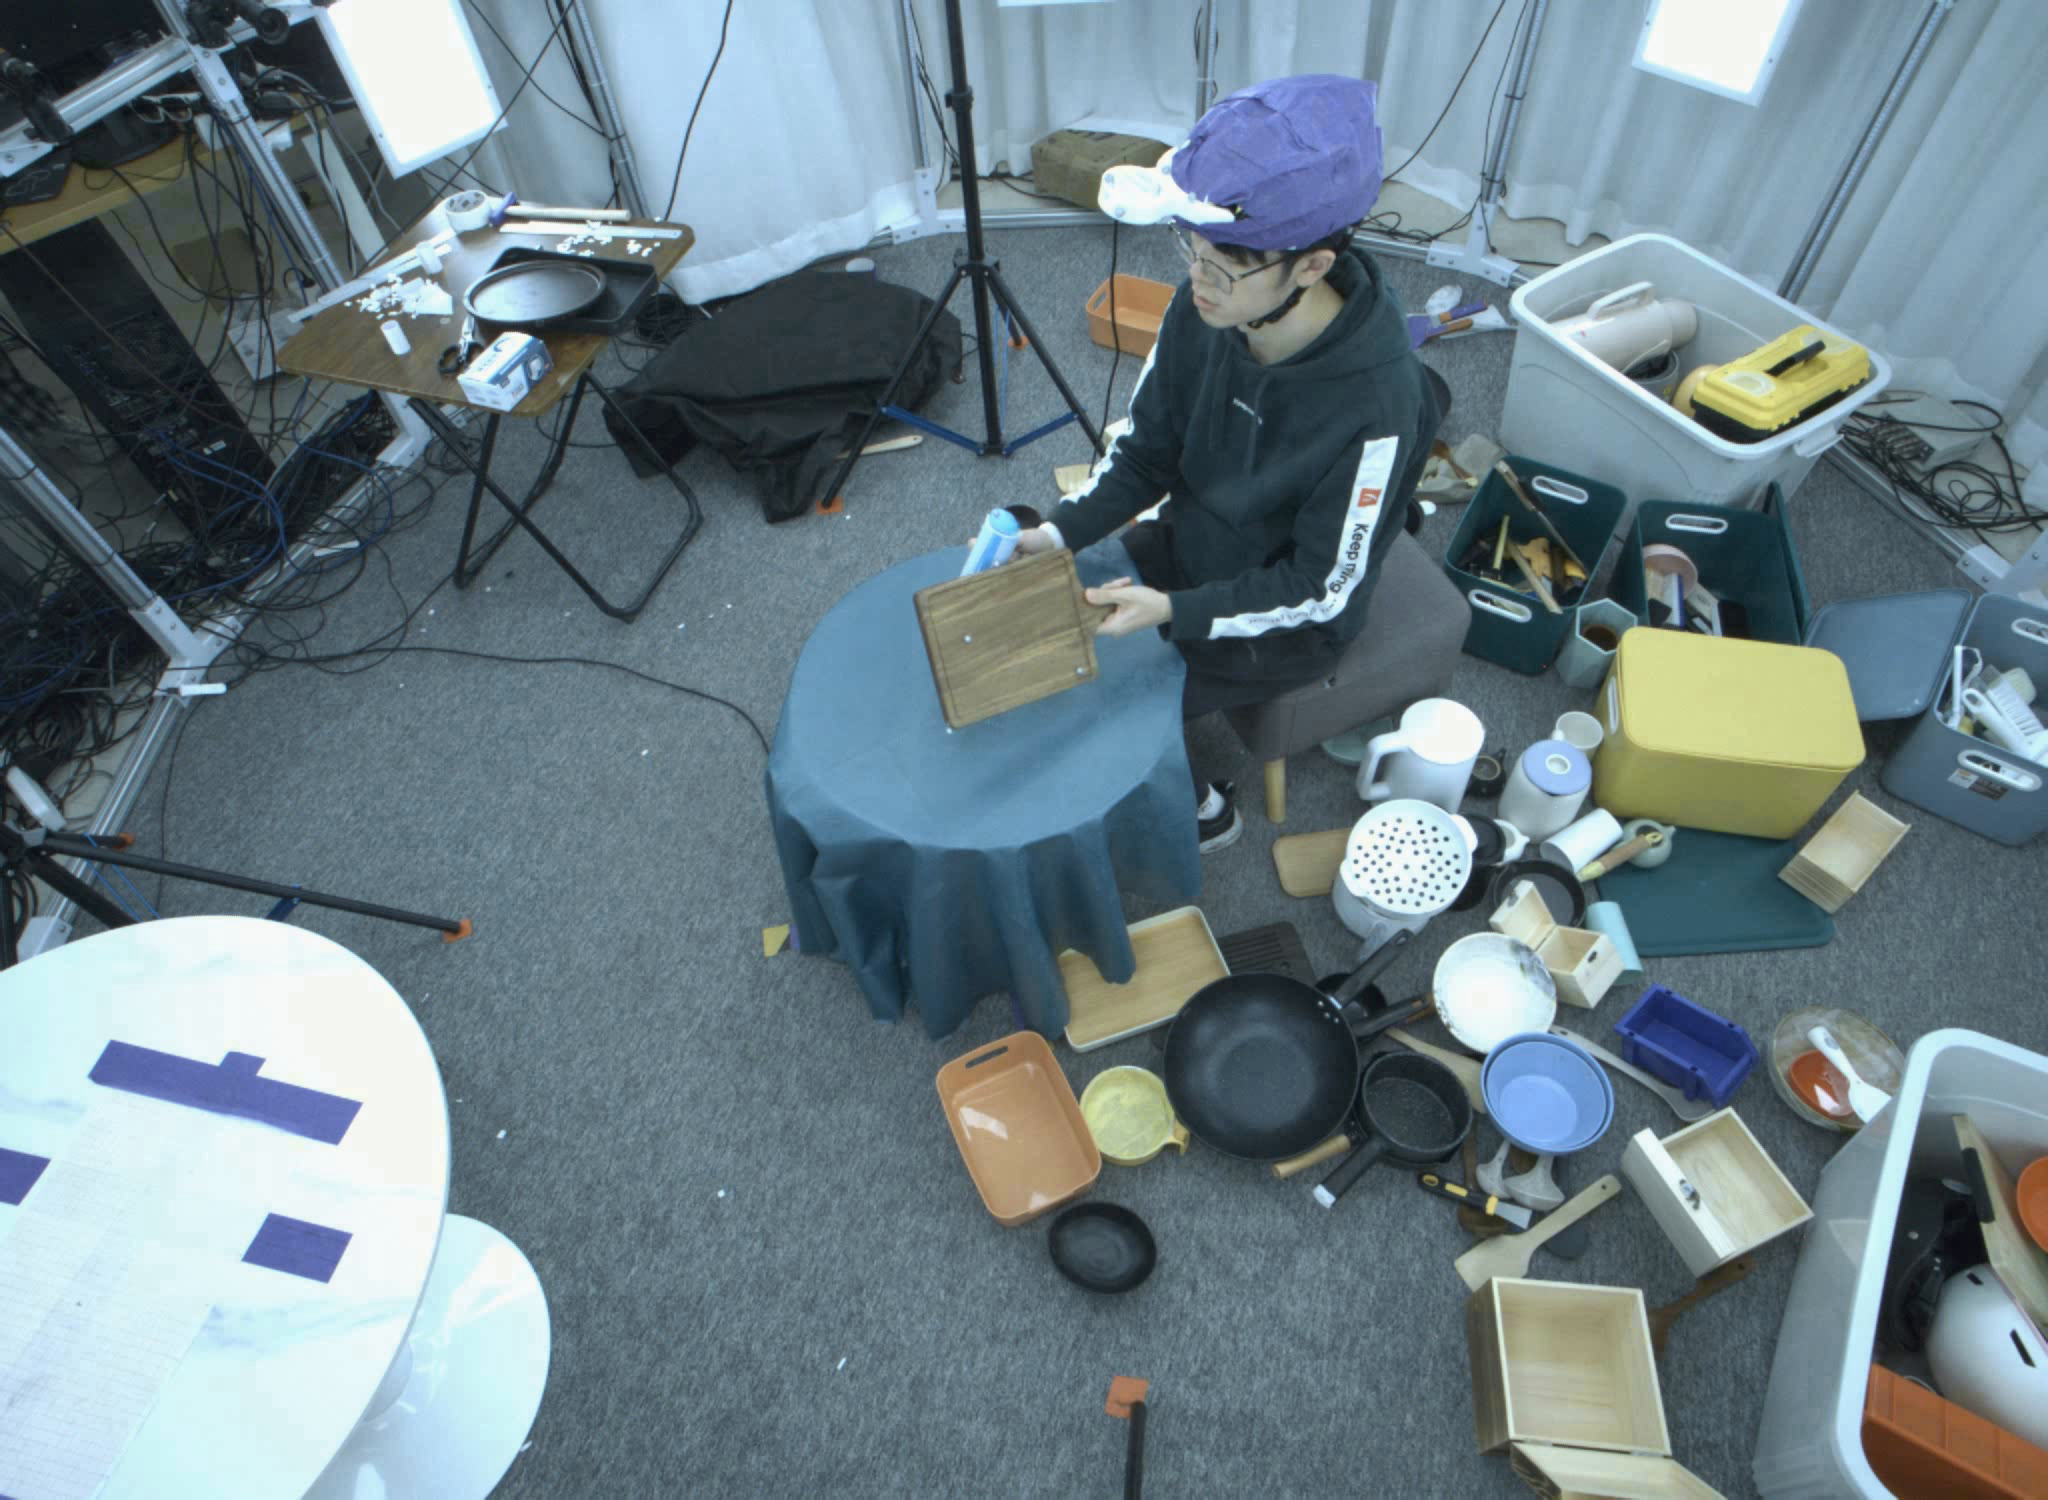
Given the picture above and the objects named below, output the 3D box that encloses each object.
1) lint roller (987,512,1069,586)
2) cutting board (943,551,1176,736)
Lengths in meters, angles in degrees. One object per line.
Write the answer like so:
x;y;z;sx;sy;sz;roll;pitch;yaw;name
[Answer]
0.003;-0.253;1.776;0.067;0.228;0.182;36;33;11;lint roller
0.066;-0.164;1.718;0.357;0.202;0.023;-20;17;-26;cutting board
